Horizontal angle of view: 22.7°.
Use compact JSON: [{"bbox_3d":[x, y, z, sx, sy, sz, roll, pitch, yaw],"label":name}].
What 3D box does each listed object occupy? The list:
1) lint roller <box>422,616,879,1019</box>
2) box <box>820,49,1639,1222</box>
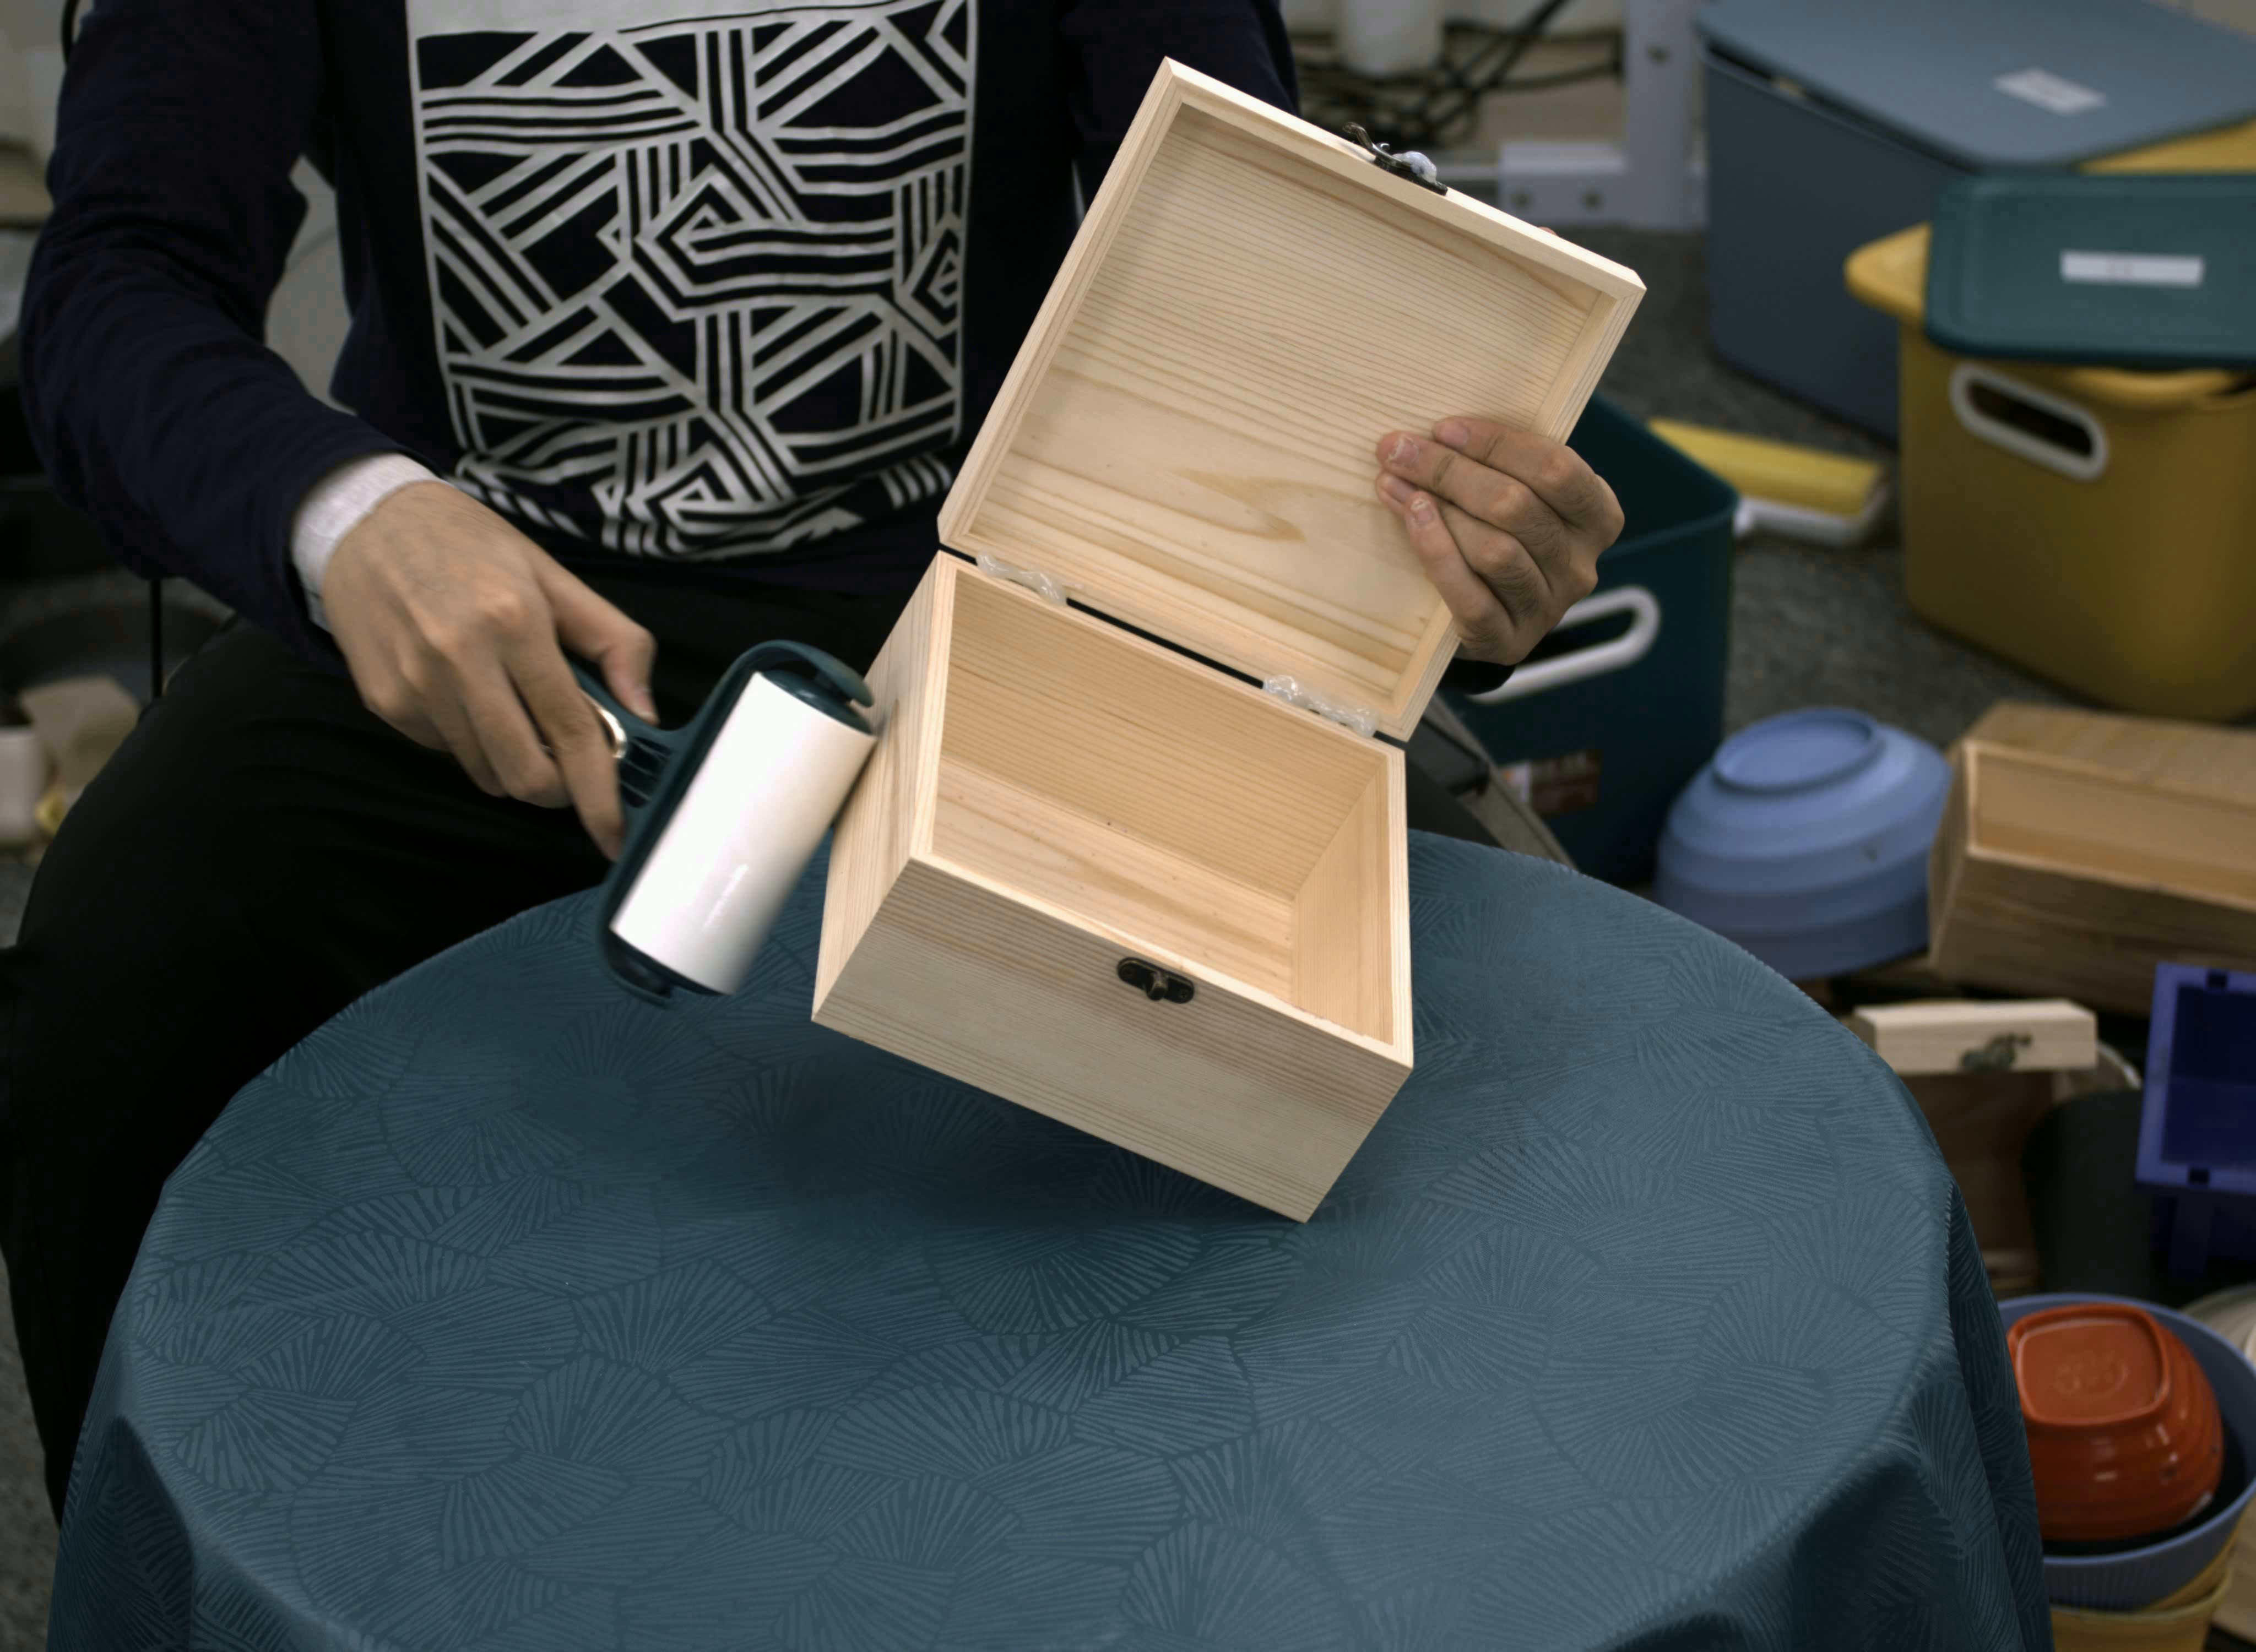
[{"bbox_3d":[-0.178,-0.028,1.895,0.180,0.134,0.048,29,3,23],"label":"lint roller"},{"bbox_3d":[0.037,-0.065,1.860,0.181,0.249,0.270,22,32,-14],"label":"box"}]
